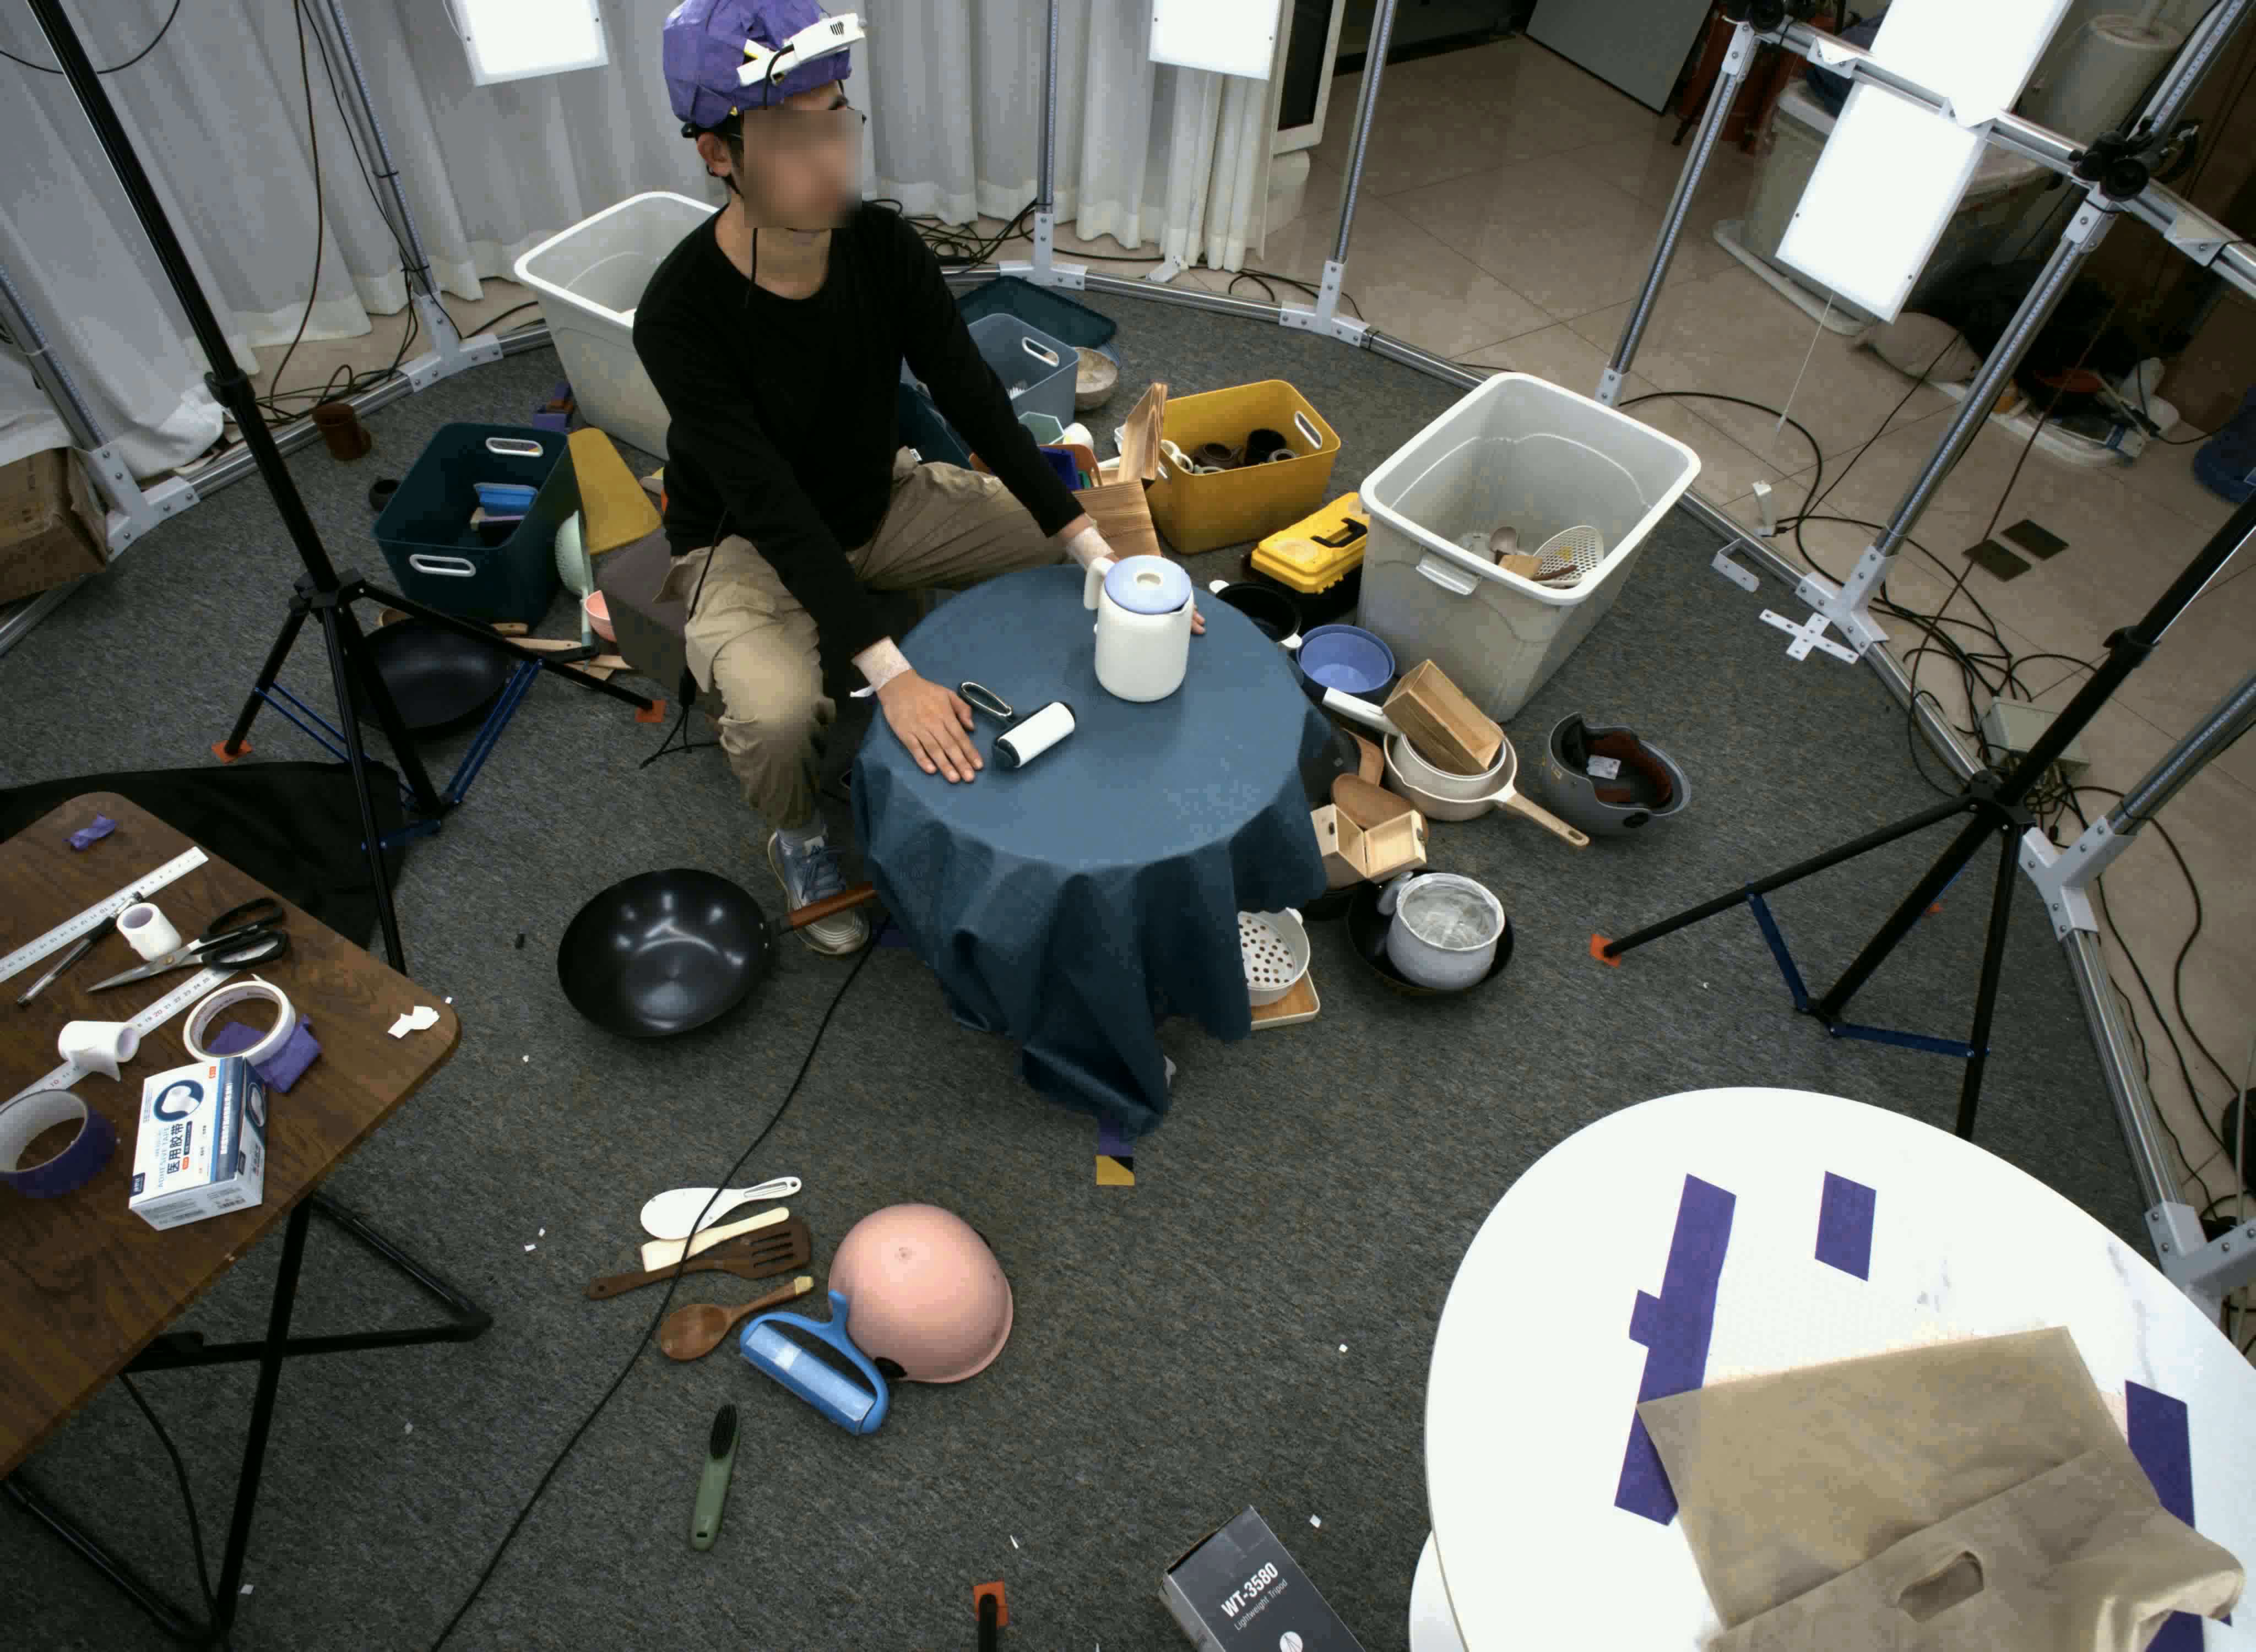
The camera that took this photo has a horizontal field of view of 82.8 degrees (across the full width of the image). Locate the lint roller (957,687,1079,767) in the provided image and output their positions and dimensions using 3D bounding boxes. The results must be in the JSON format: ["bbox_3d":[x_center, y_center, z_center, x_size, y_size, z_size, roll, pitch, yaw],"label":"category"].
[{"bbox_3d":[-0.173,-0.160,1.770,0.183,0.047,0.135,37,56,28],"label":"lint roller"}]

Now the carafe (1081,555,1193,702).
[{"bbox_3d":[0.005,-0.290,1.811,0.133,0.178,0.194,-34,58,-29],"label":"carafe"}]
